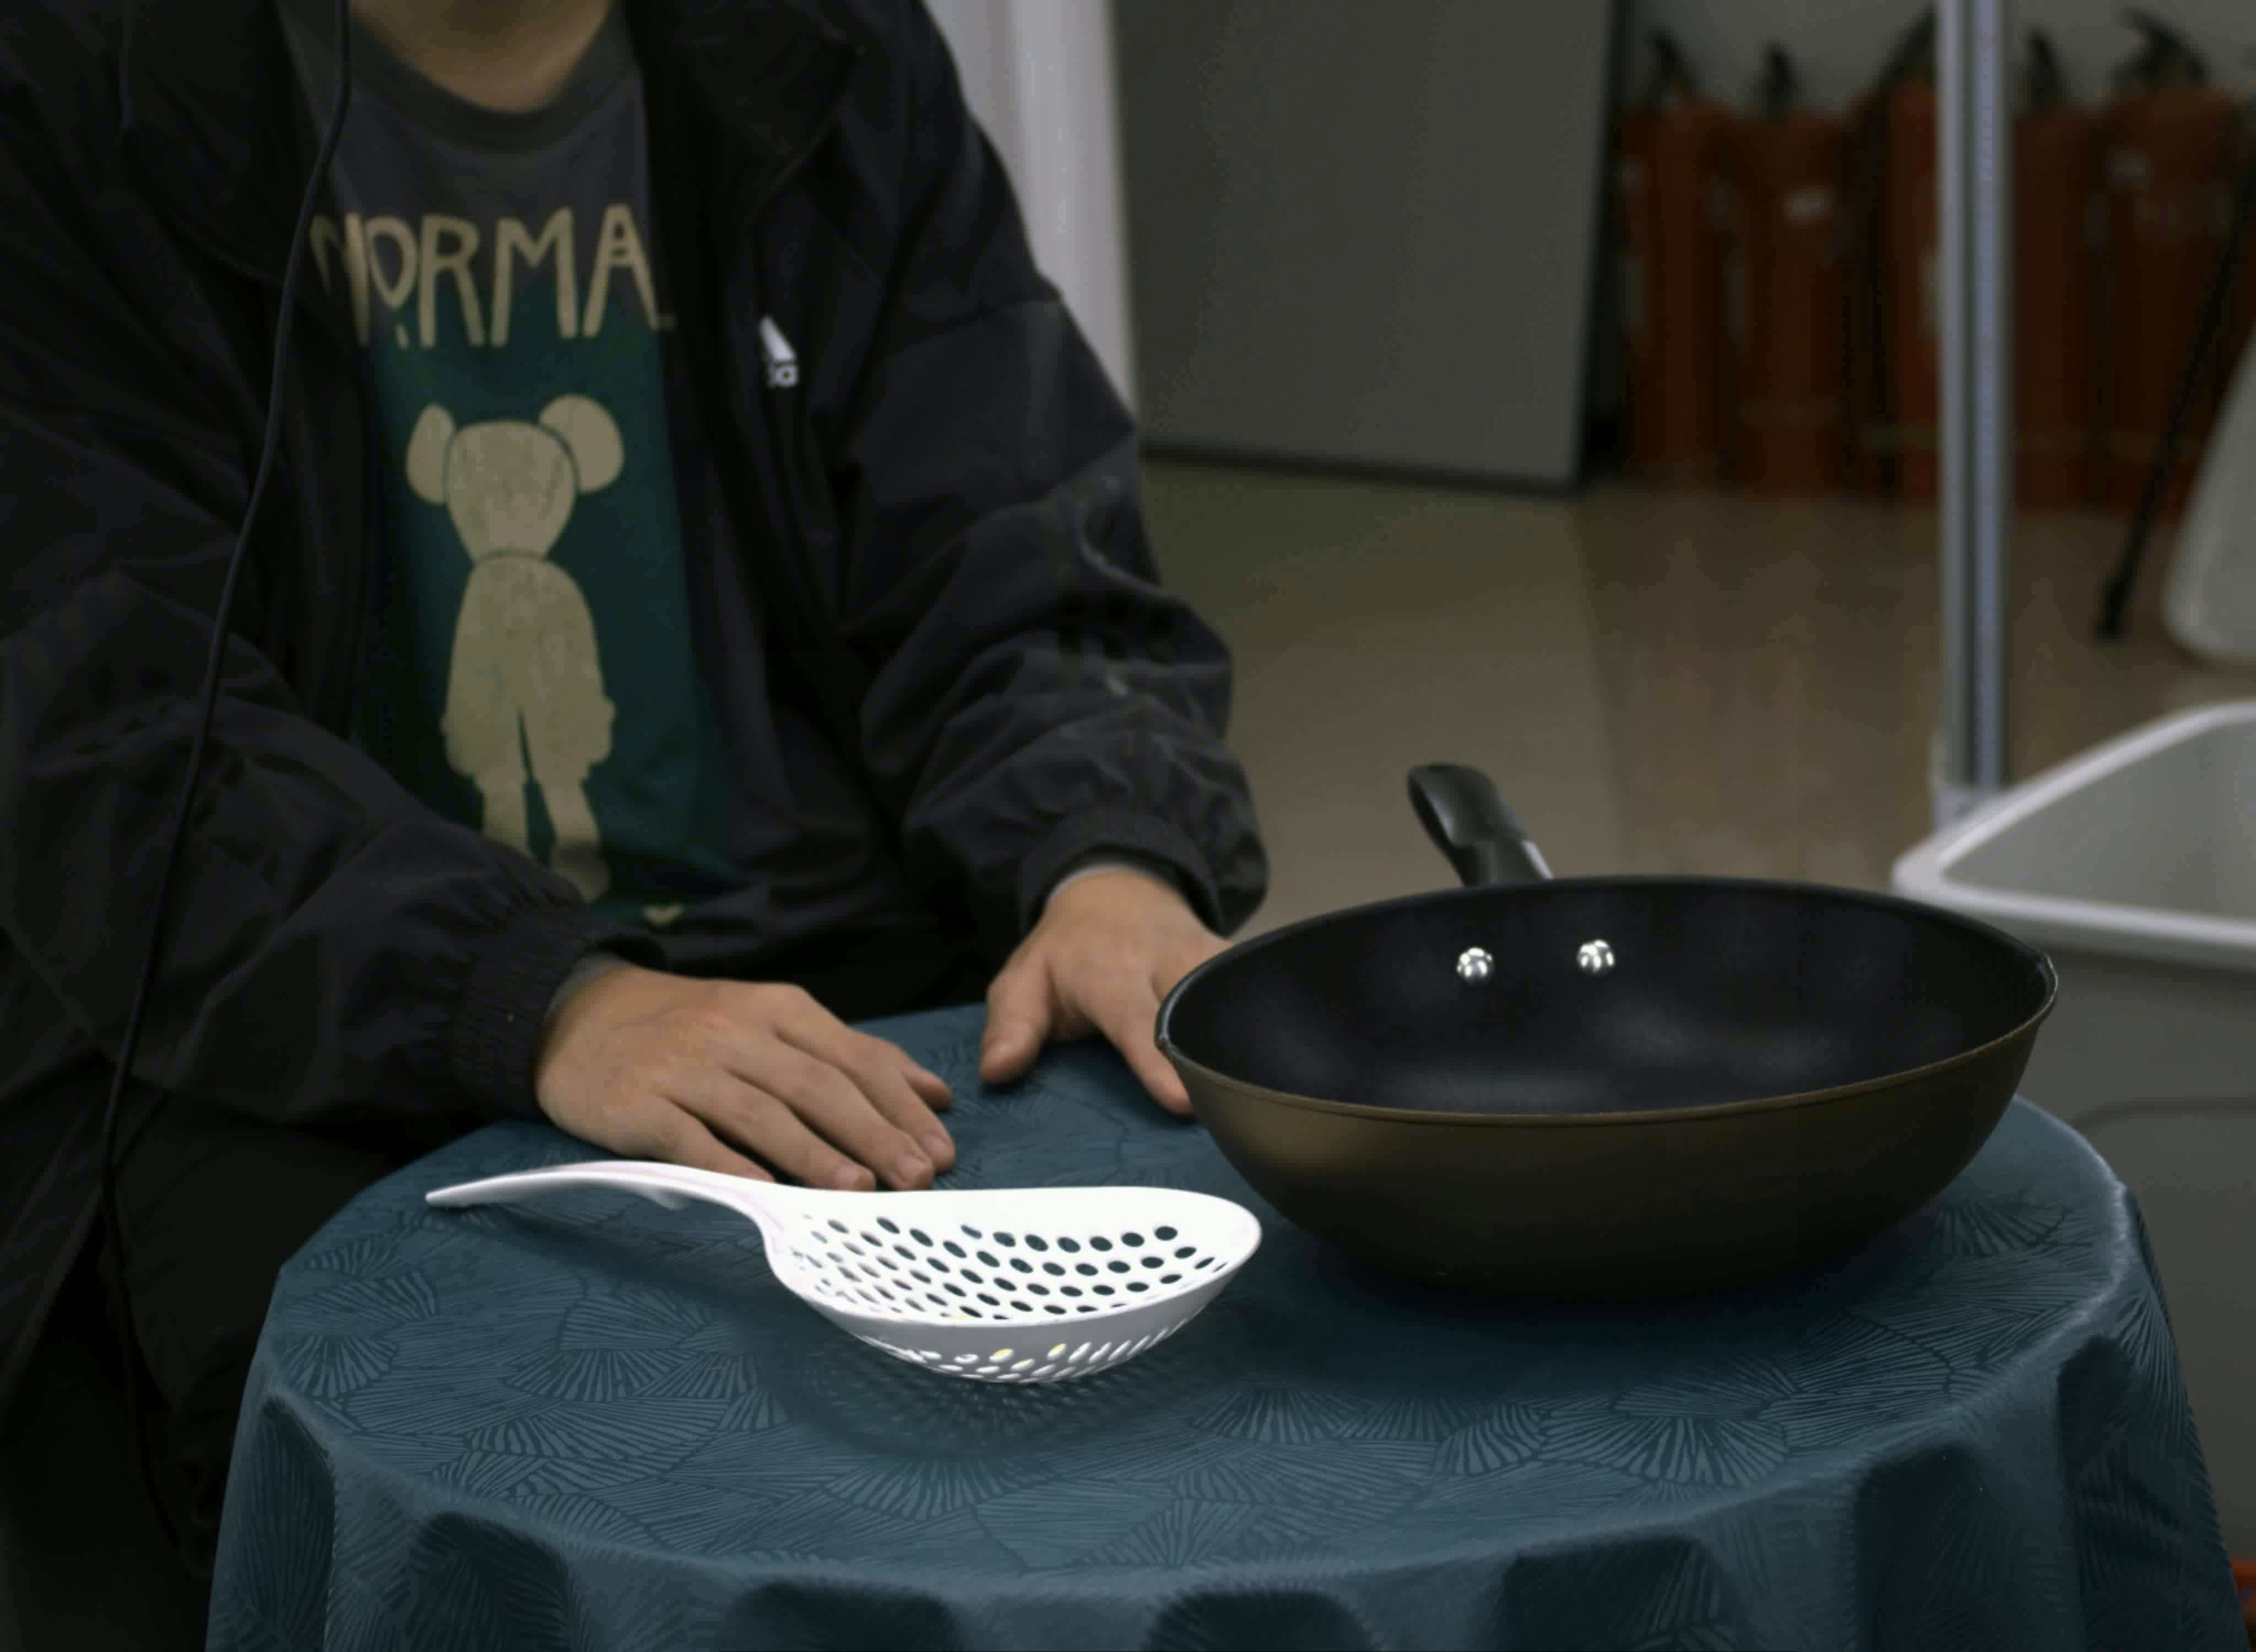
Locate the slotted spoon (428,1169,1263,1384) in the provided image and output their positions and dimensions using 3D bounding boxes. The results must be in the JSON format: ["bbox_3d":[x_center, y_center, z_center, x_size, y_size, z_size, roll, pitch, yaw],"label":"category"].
[{"bbox_3d":[-0.103,0.130,1.683,0.134,0.051,0.351,-19,20,-41],"label":"slotted spoon"}]

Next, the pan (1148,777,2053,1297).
[{"bbox_3d":[0.140,0.067,1.779,0.284,0.088,0.465,-5,12,-4],"label":"pan"}]
